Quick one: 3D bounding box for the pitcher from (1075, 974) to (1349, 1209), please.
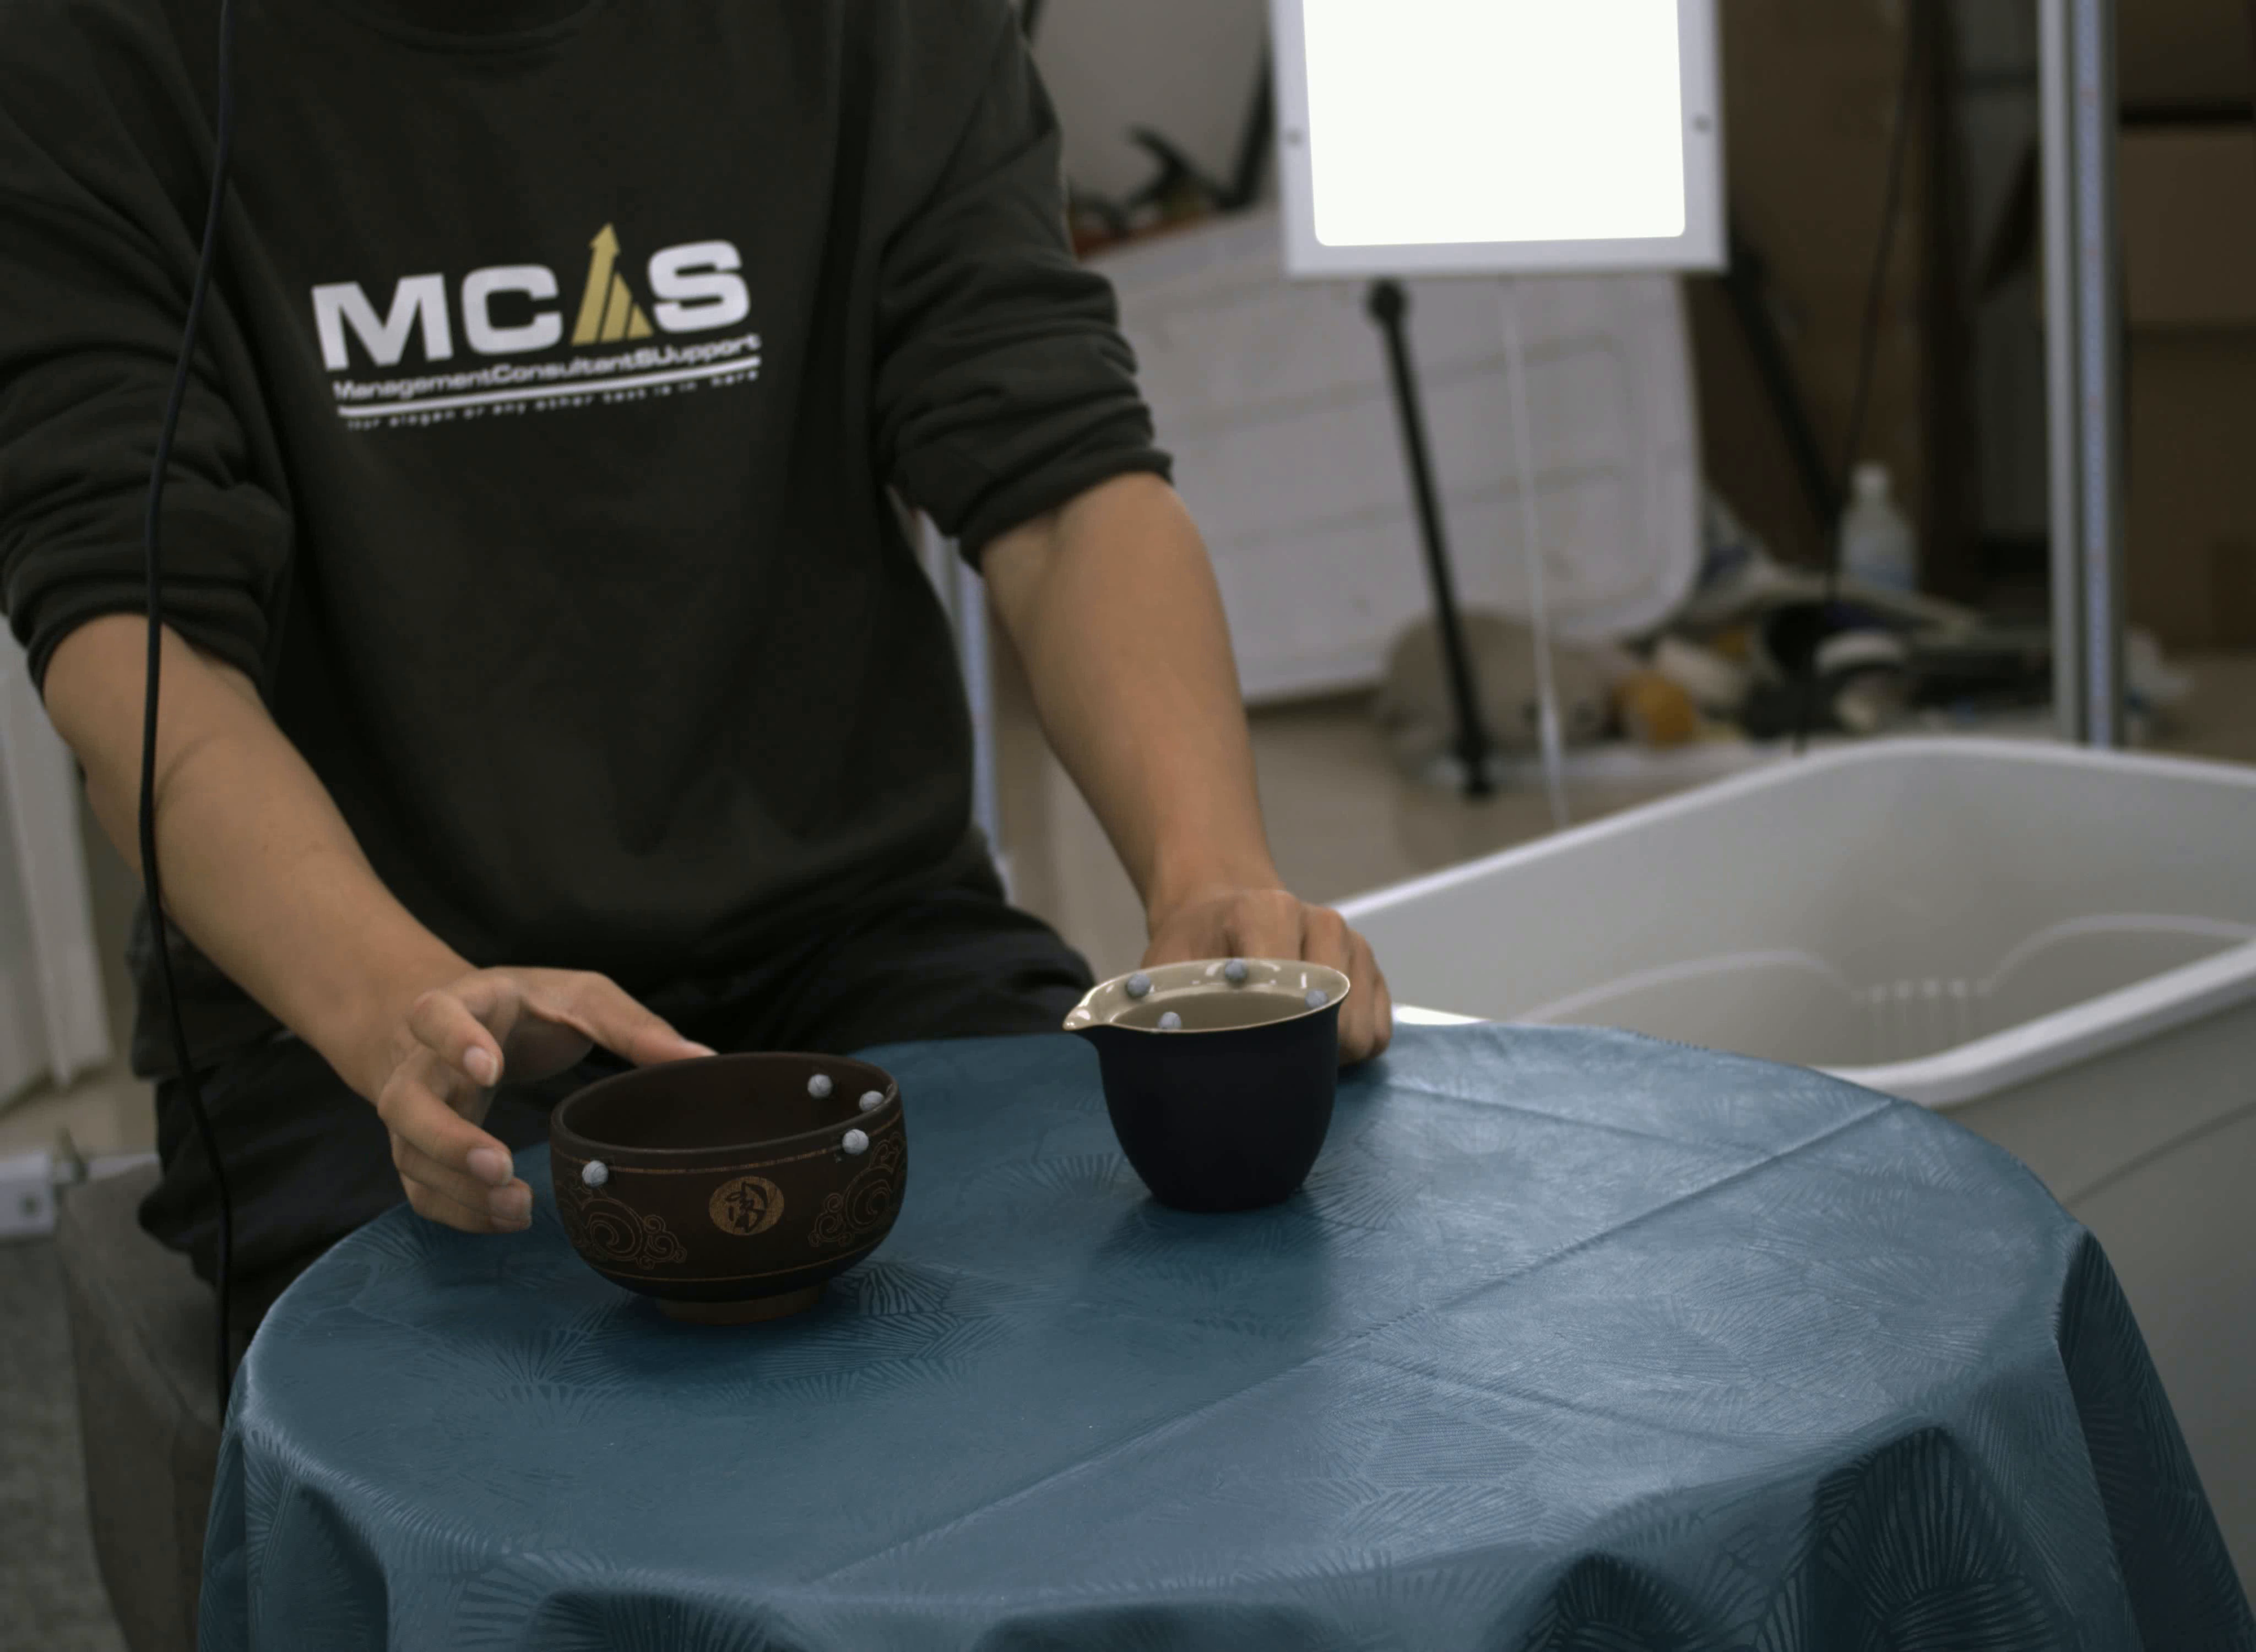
[{"bbox_3d":[0.031,0.090,1.881,0.095,0.071,0.084,-7,15,-10],"label":"pitcher"}]

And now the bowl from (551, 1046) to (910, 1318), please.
[{"bbox_3d":[-0.129,0.120,1.814,0.118,0.070,0.118,-5,12,0],"label":"bowl"}]
